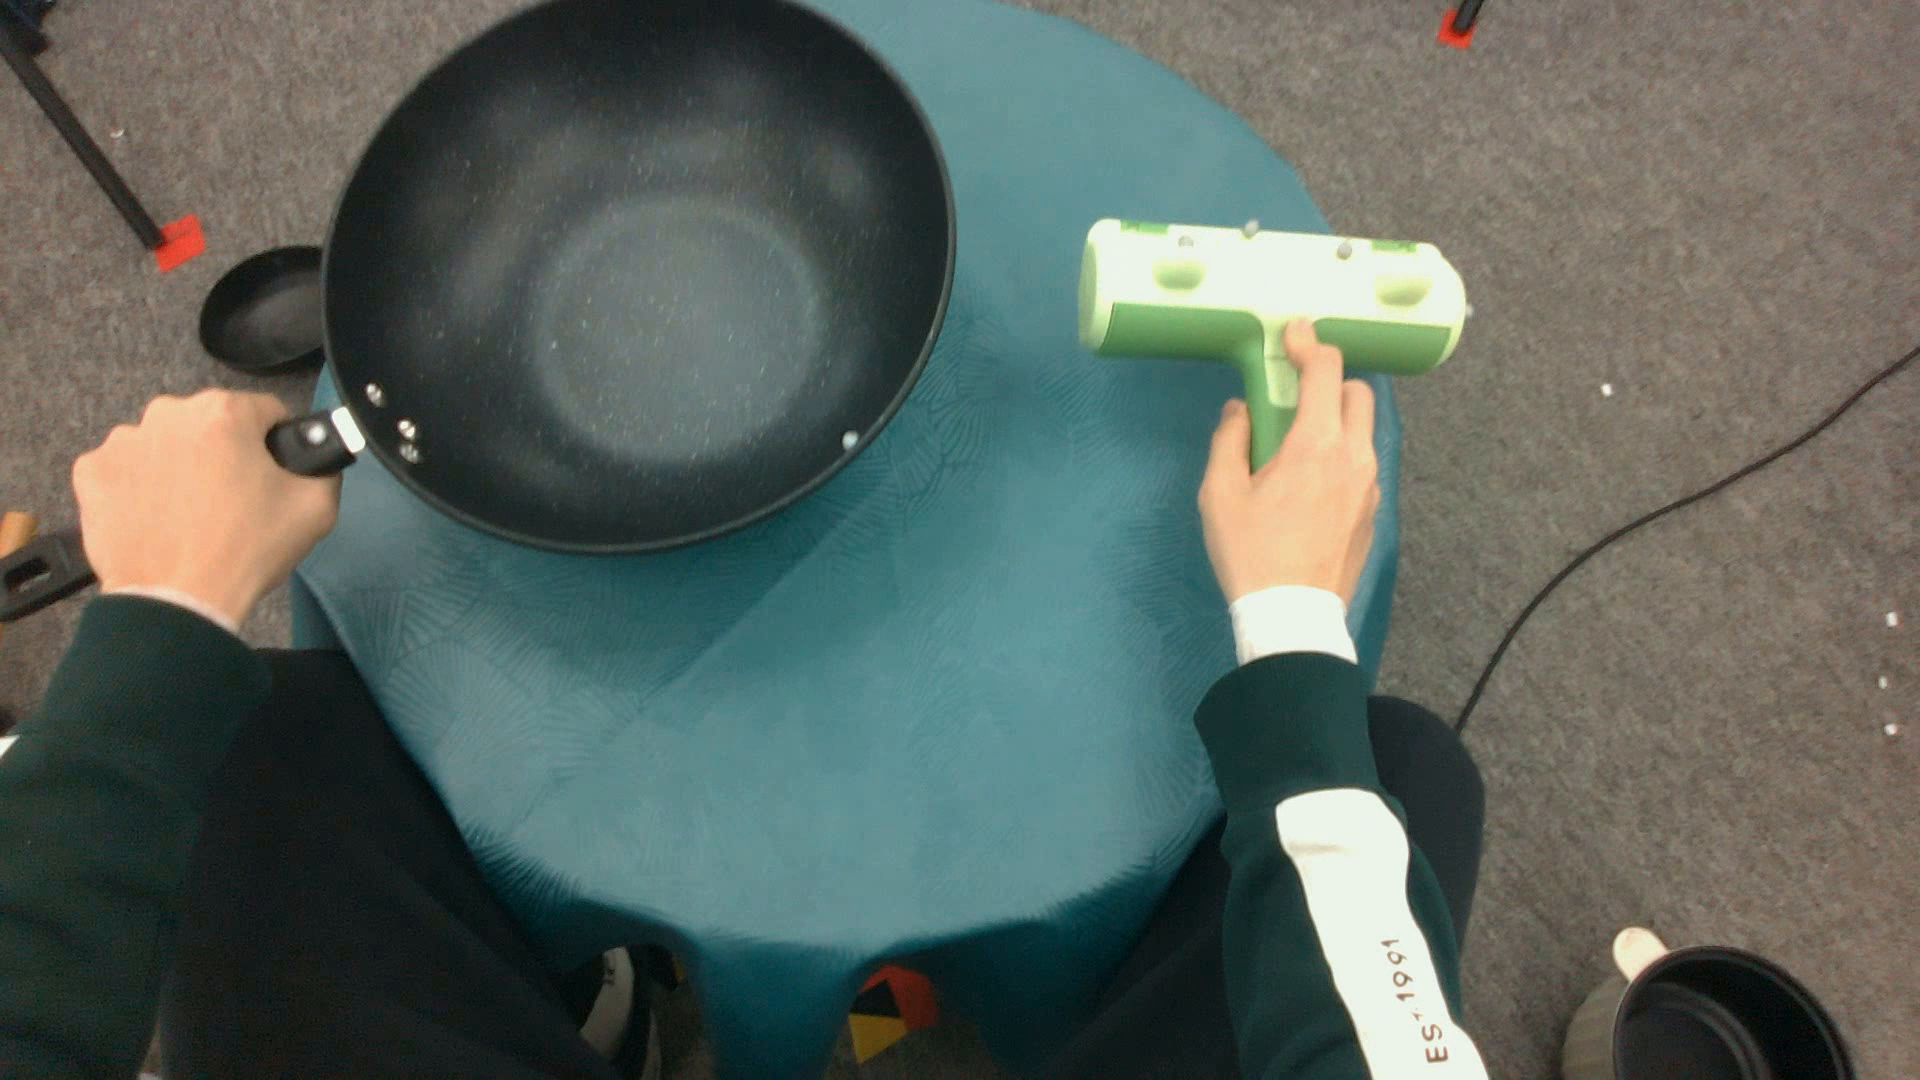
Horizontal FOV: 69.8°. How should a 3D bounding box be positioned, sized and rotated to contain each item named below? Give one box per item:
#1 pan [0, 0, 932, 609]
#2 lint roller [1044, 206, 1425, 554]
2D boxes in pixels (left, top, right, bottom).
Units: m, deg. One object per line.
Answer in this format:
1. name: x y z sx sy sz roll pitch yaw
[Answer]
1. pan: -0.234 -0.092 0.681 0.478 0.111 0.310 -35 72 -10
2. lint roller: 0.148 -0.089 0.688 0.199 0.082 0.184 2 61 -10
